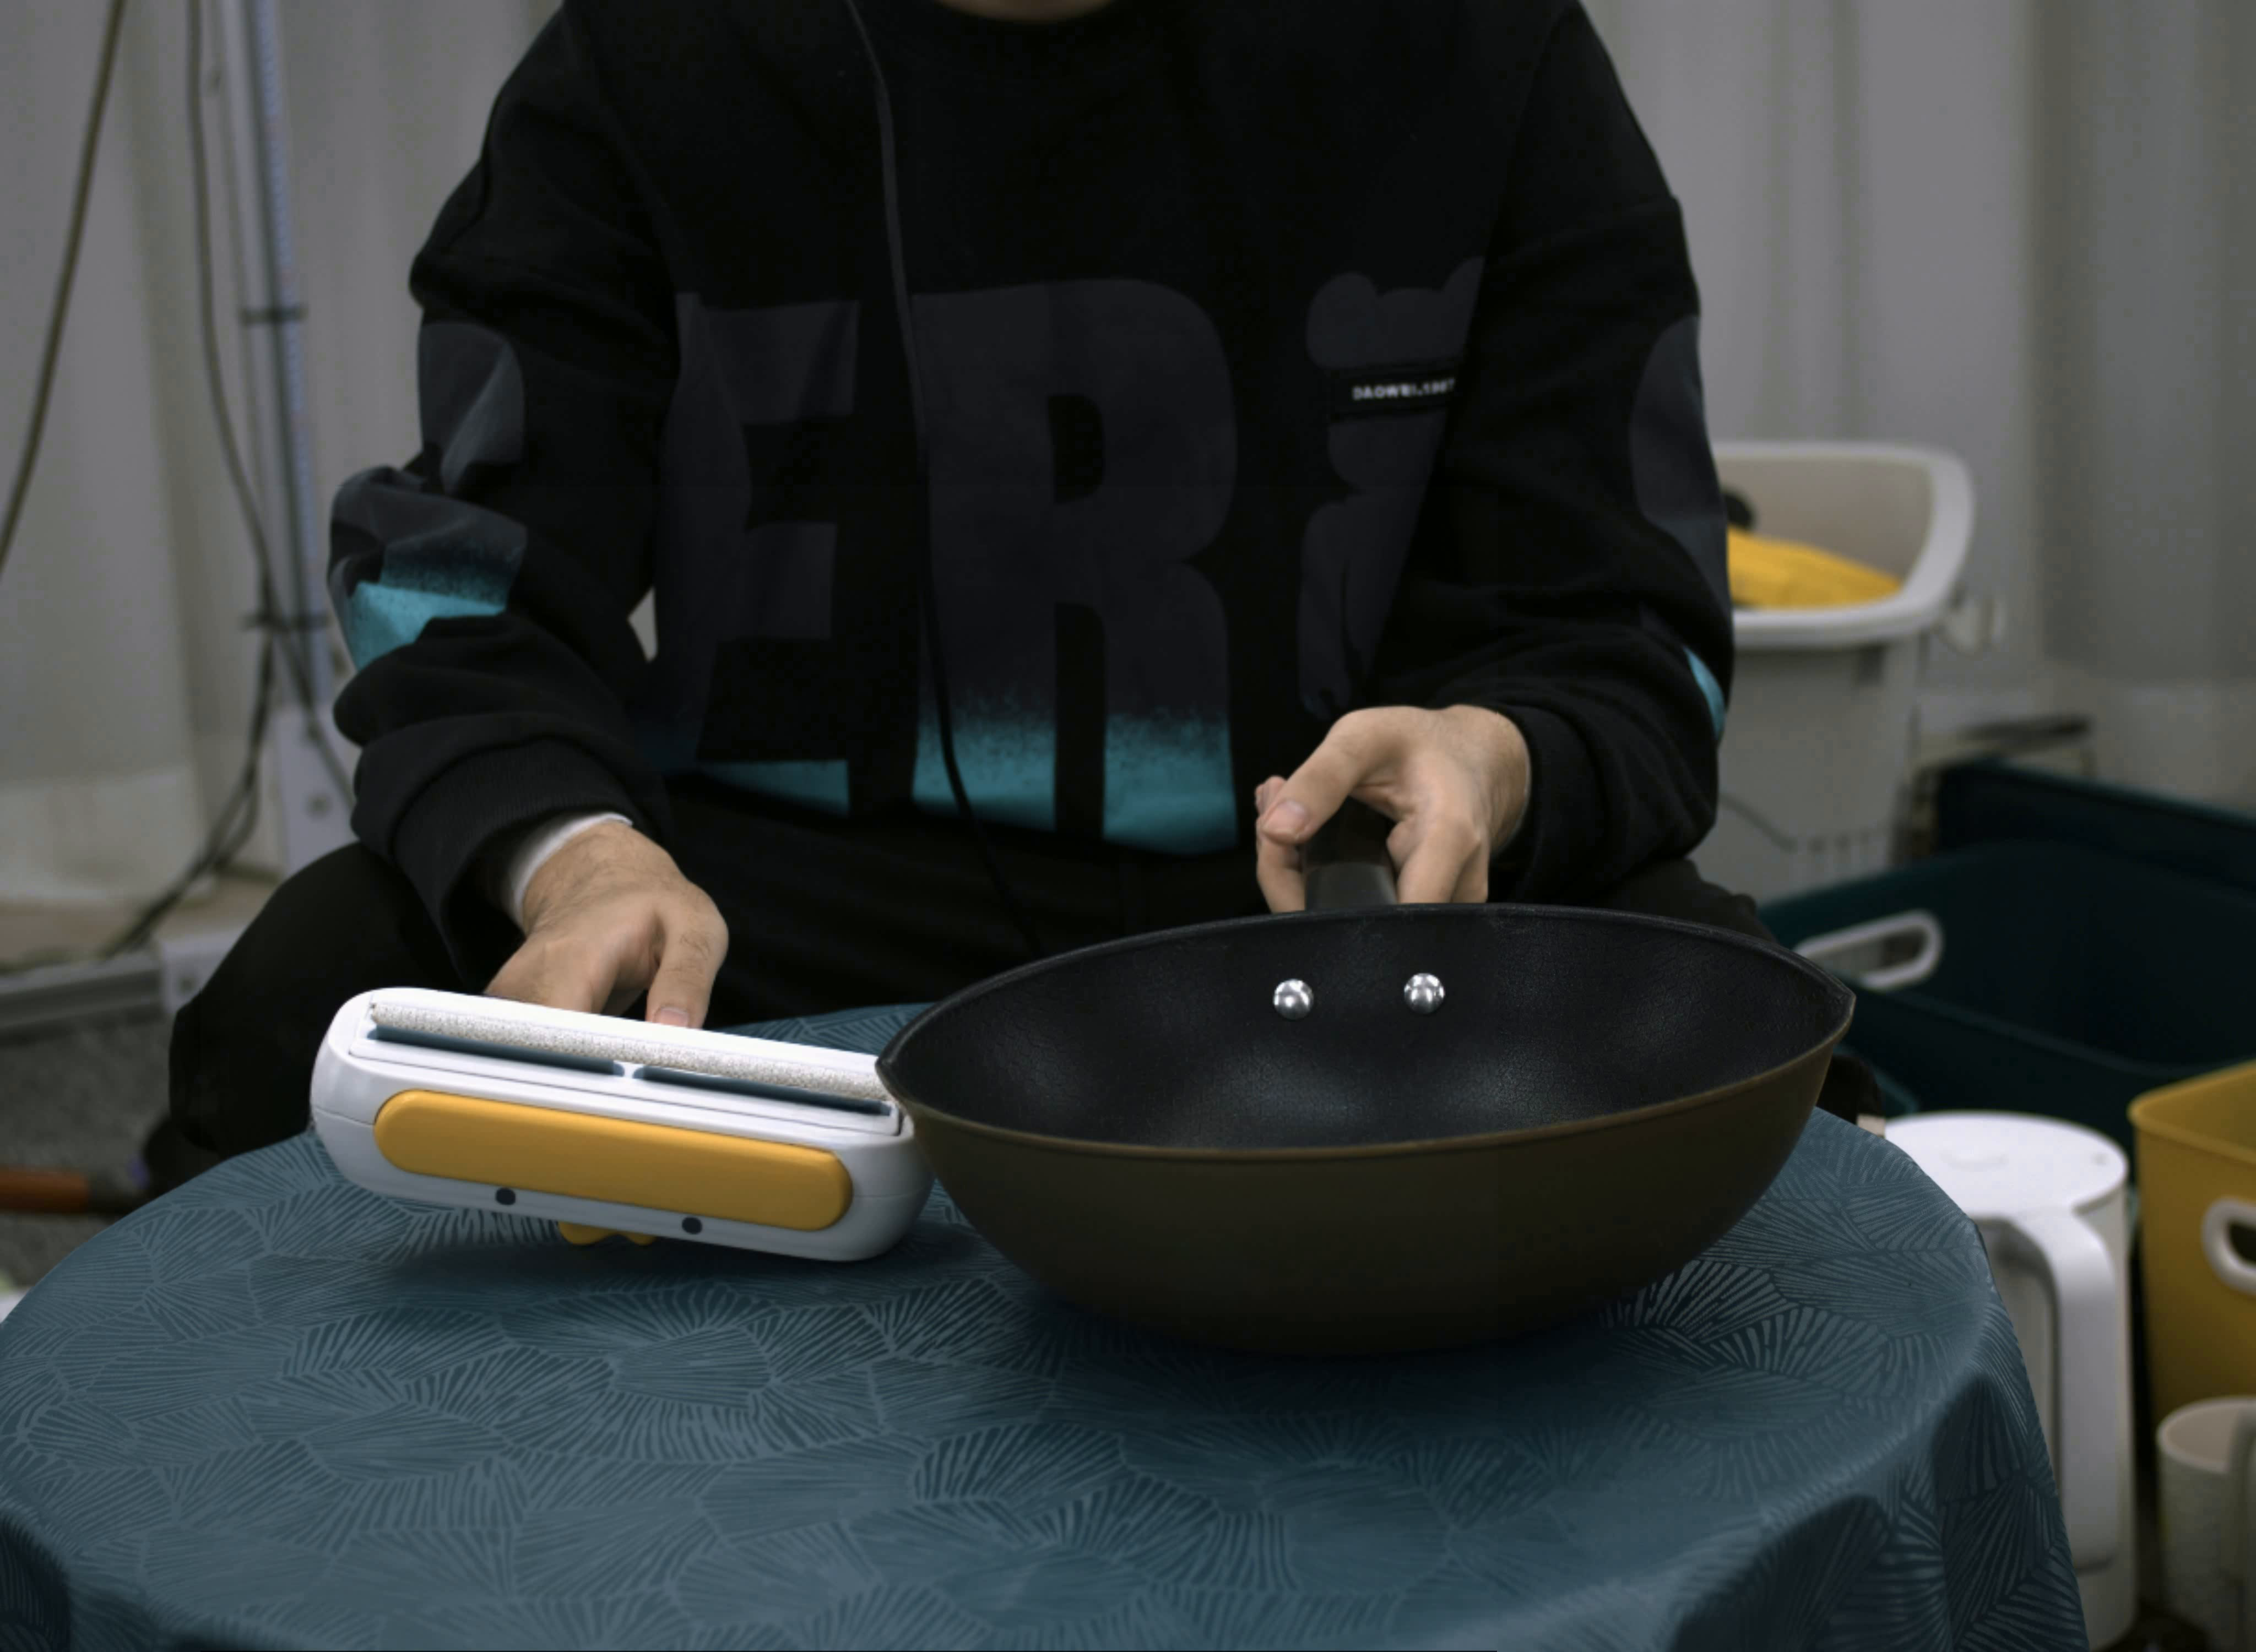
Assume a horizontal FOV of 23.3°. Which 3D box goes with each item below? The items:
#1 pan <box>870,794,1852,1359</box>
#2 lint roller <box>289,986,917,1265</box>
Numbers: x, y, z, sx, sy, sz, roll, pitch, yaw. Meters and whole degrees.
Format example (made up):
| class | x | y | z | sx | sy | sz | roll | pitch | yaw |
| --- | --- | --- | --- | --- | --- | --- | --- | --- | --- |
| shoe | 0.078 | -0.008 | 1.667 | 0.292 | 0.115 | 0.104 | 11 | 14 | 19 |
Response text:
| class | x | y | z | sx | sy | sz | roll | pitch | yaw |
| --- | --- | --- | --- | --- | --- | --- | --- | --- | --- |
| pan | 0.071 | 0.075 | 1.694 | 0.287 | 0.086 | 0.466 | -4 | 12 | 2 |
| lint roller | -0.155 | 0.082 | 1.731 | 0.192 | 0.074 | 0.193 | 5 | 15 | 5 |
